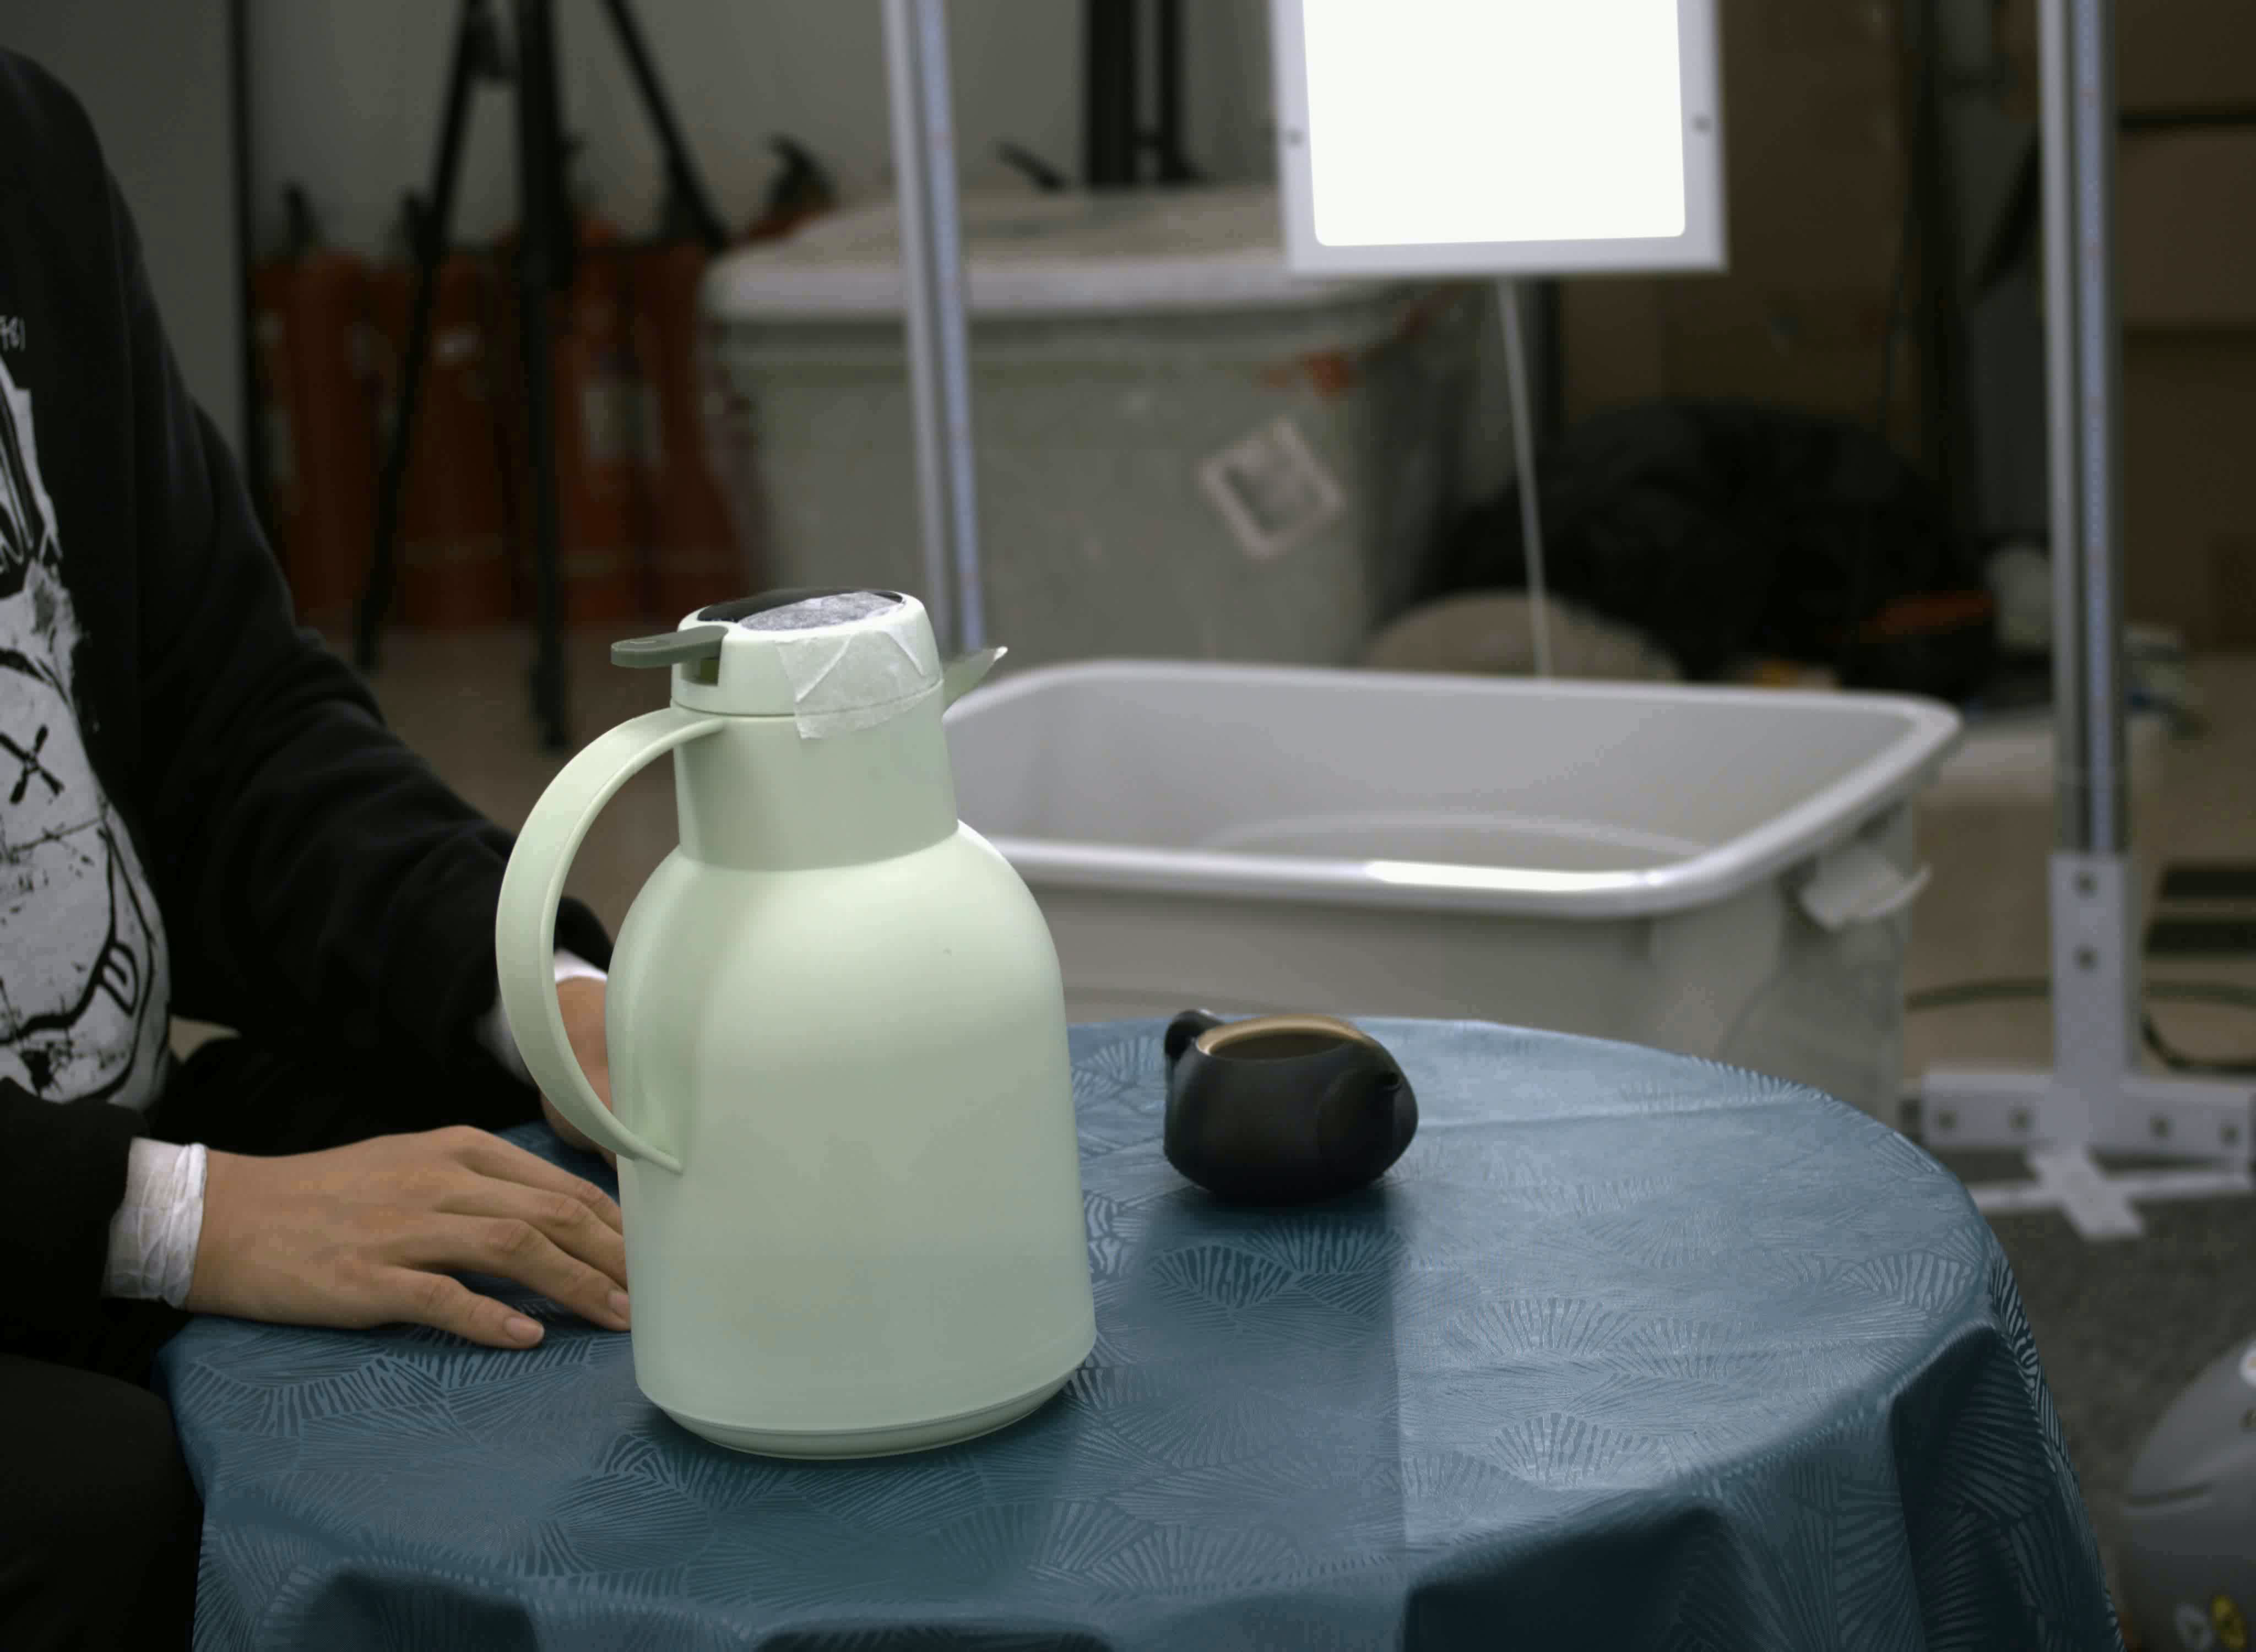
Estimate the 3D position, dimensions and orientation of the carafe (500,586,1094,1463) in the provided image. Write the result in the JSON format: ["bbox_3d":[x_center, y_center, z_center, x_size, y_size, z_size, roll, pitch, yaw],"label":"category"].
[{"bbox_3d":[-0.102,0.060,1.685,0.182,0.257,0.147,-19,20,-34],"label":"carafe"}]

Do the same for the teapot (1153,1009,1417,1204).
[{"bbox_3d":[0.054,0.097,1.887,0.089,0.053,0.136,-12,16,-32],"label":"teapot"}]
